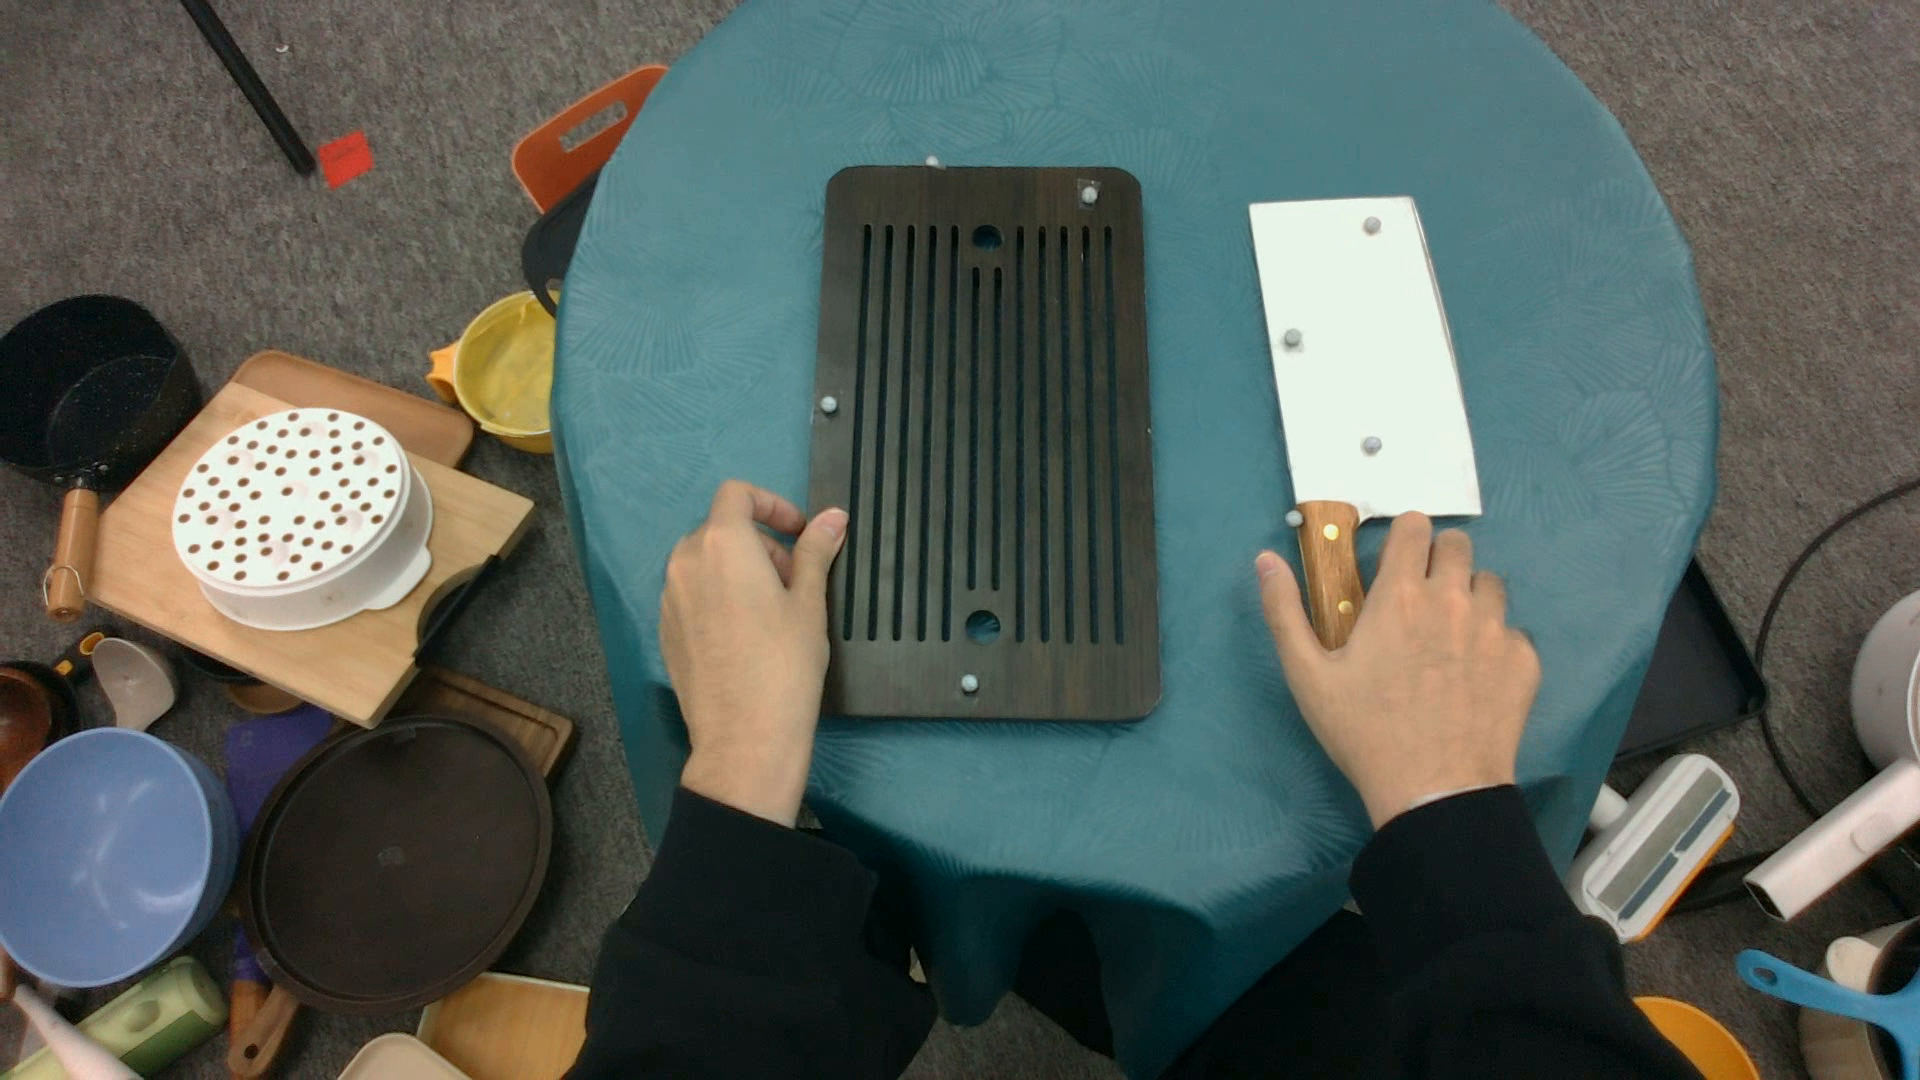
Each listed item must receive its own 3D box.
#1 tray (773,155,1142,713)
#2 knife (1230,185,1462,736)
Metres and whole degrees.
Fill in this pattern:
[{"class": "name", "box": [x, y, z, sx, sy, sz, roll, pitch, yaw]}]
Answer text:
[{"class": "tray", "box": [0.001, -0.062, 0.688, 0.170, 0.018, 0.307, 1, 68, 0]}, {"class": "knife", "box": [0.198, -0.053, 0.685, 0.093, 0.021, 0.307, -2, 65, -2]}]
